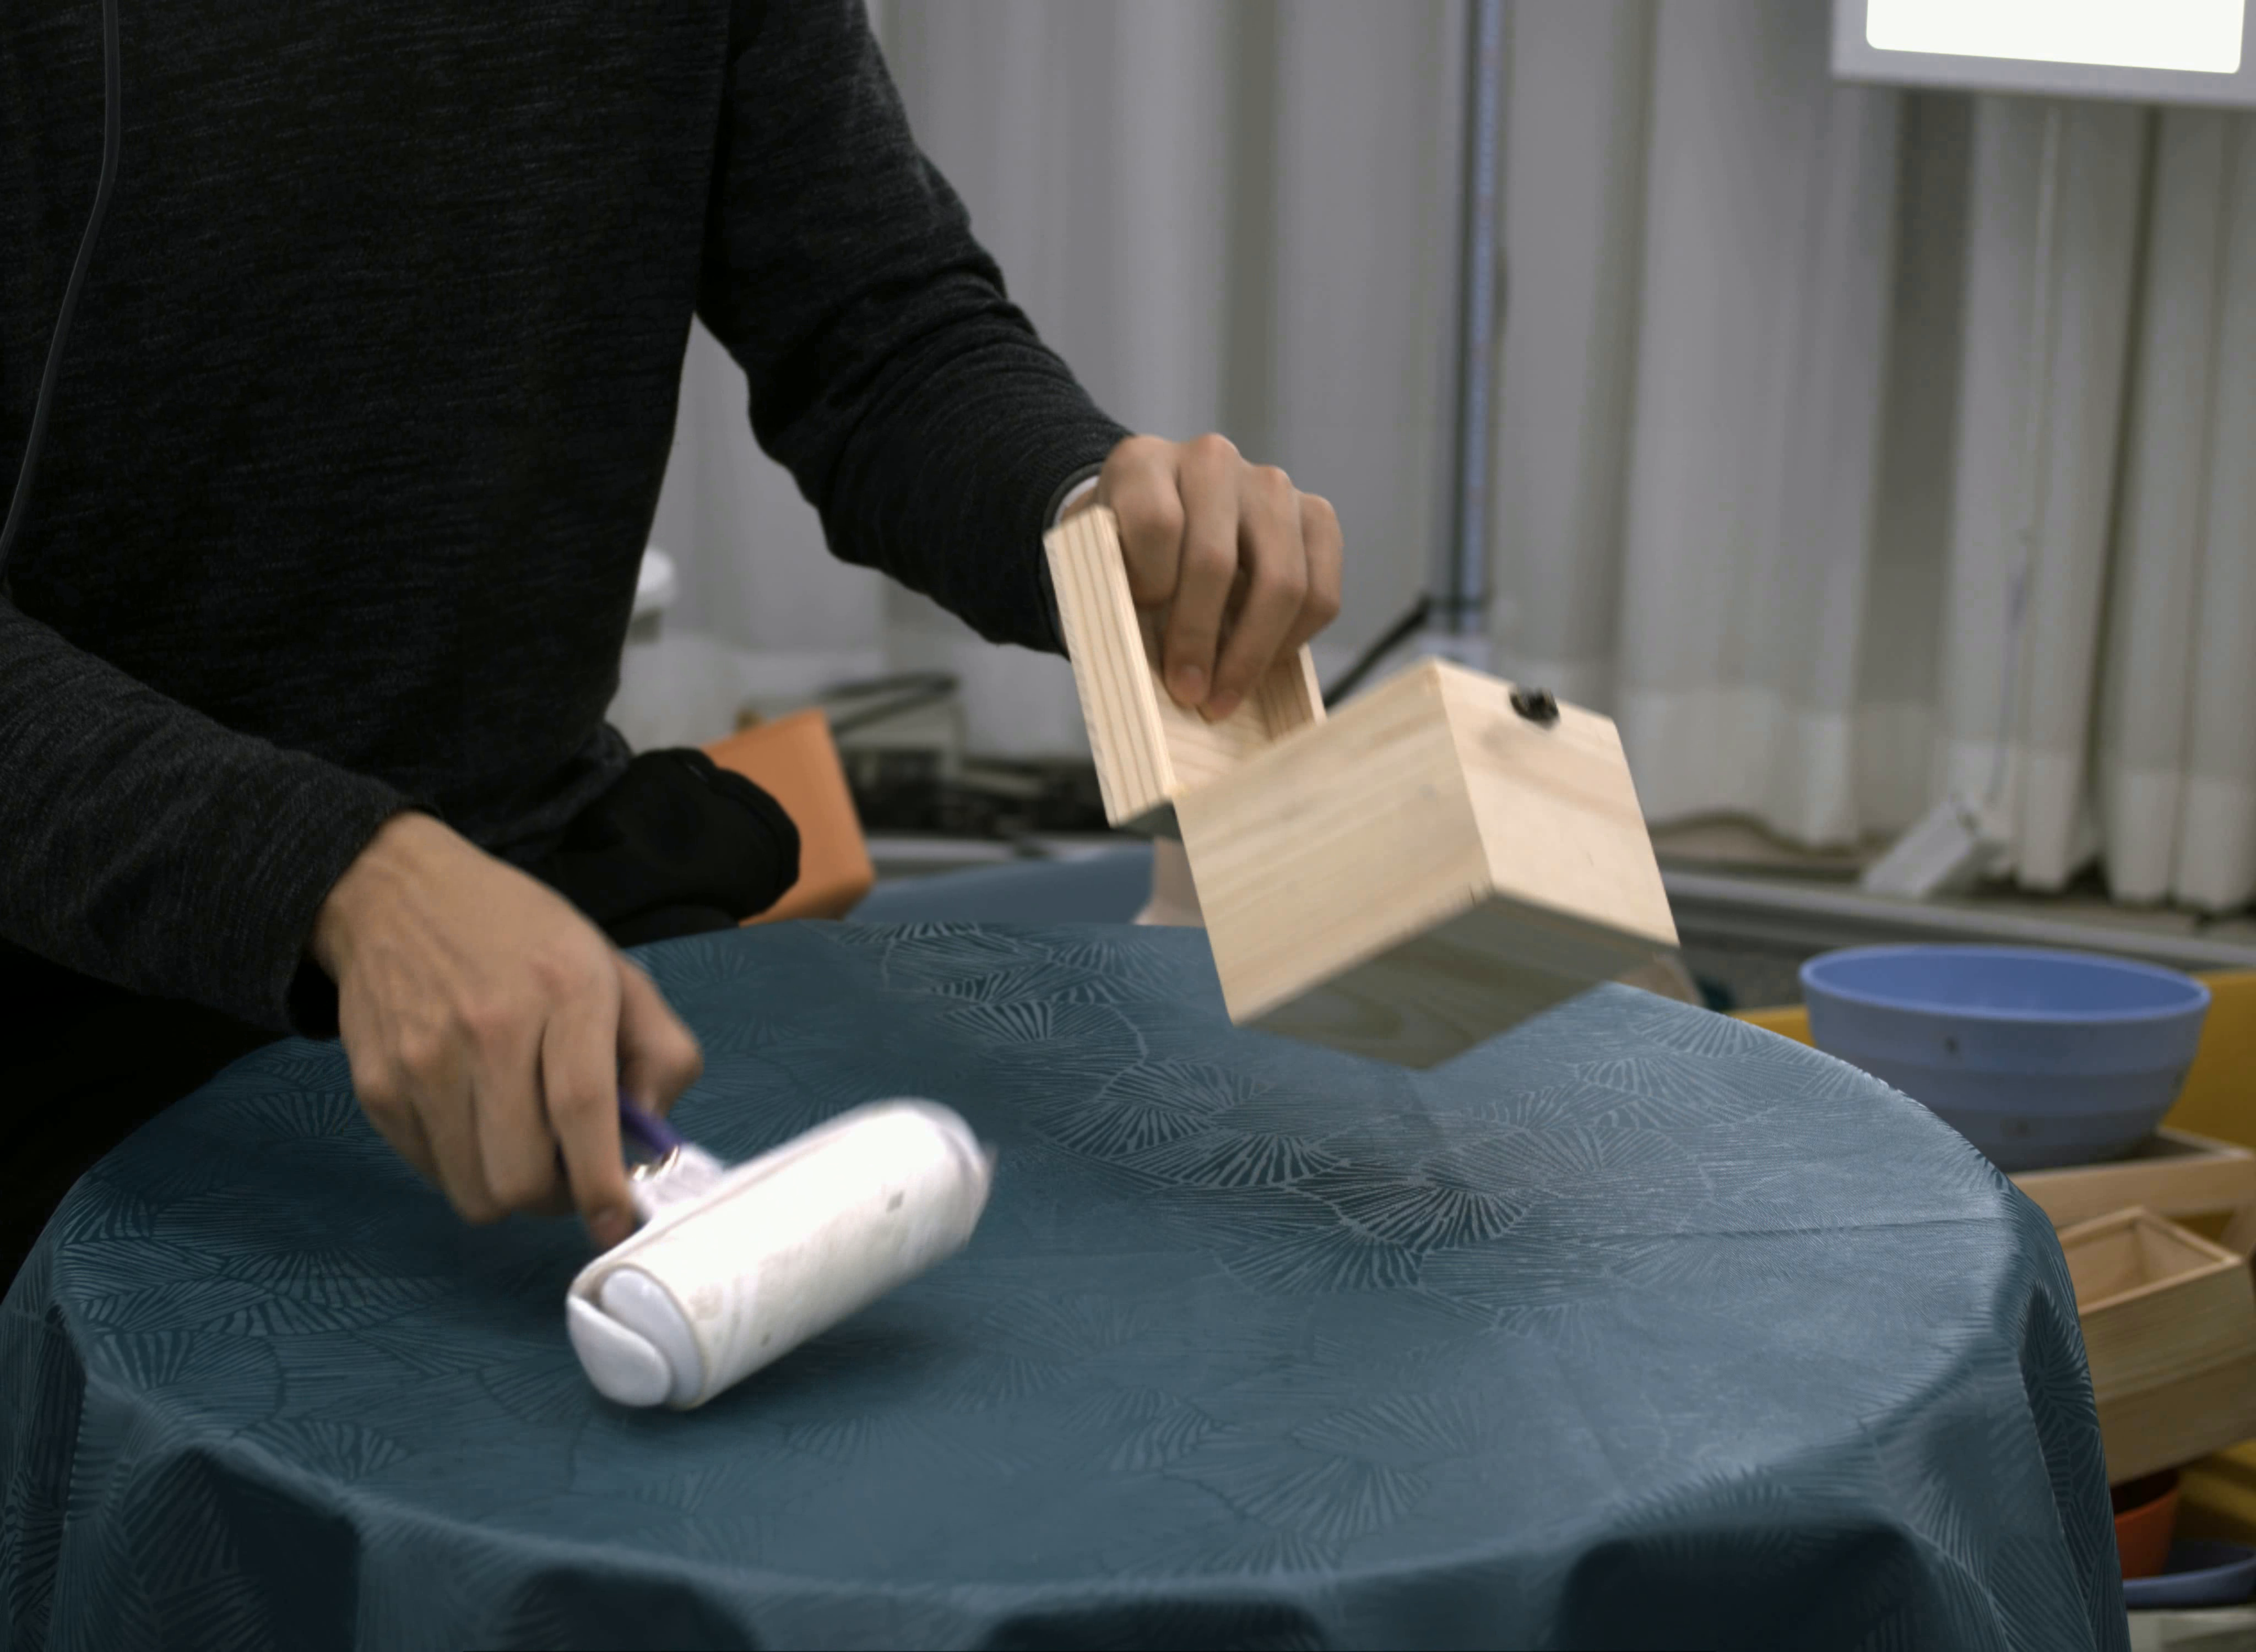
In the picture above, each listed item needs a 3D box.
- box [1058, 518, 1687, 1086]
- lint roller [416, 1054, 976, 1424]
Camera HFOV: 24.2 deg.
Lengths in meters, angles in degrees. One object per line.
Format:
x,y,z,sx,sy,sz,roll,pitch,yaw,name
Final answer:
0.075,-0.025,1.621,0.133,0.183,0.103,-28,-25,31,box
-0.141,0.096,1.498,0.133,0.051,0.178,-24,45,-36,lint roller
